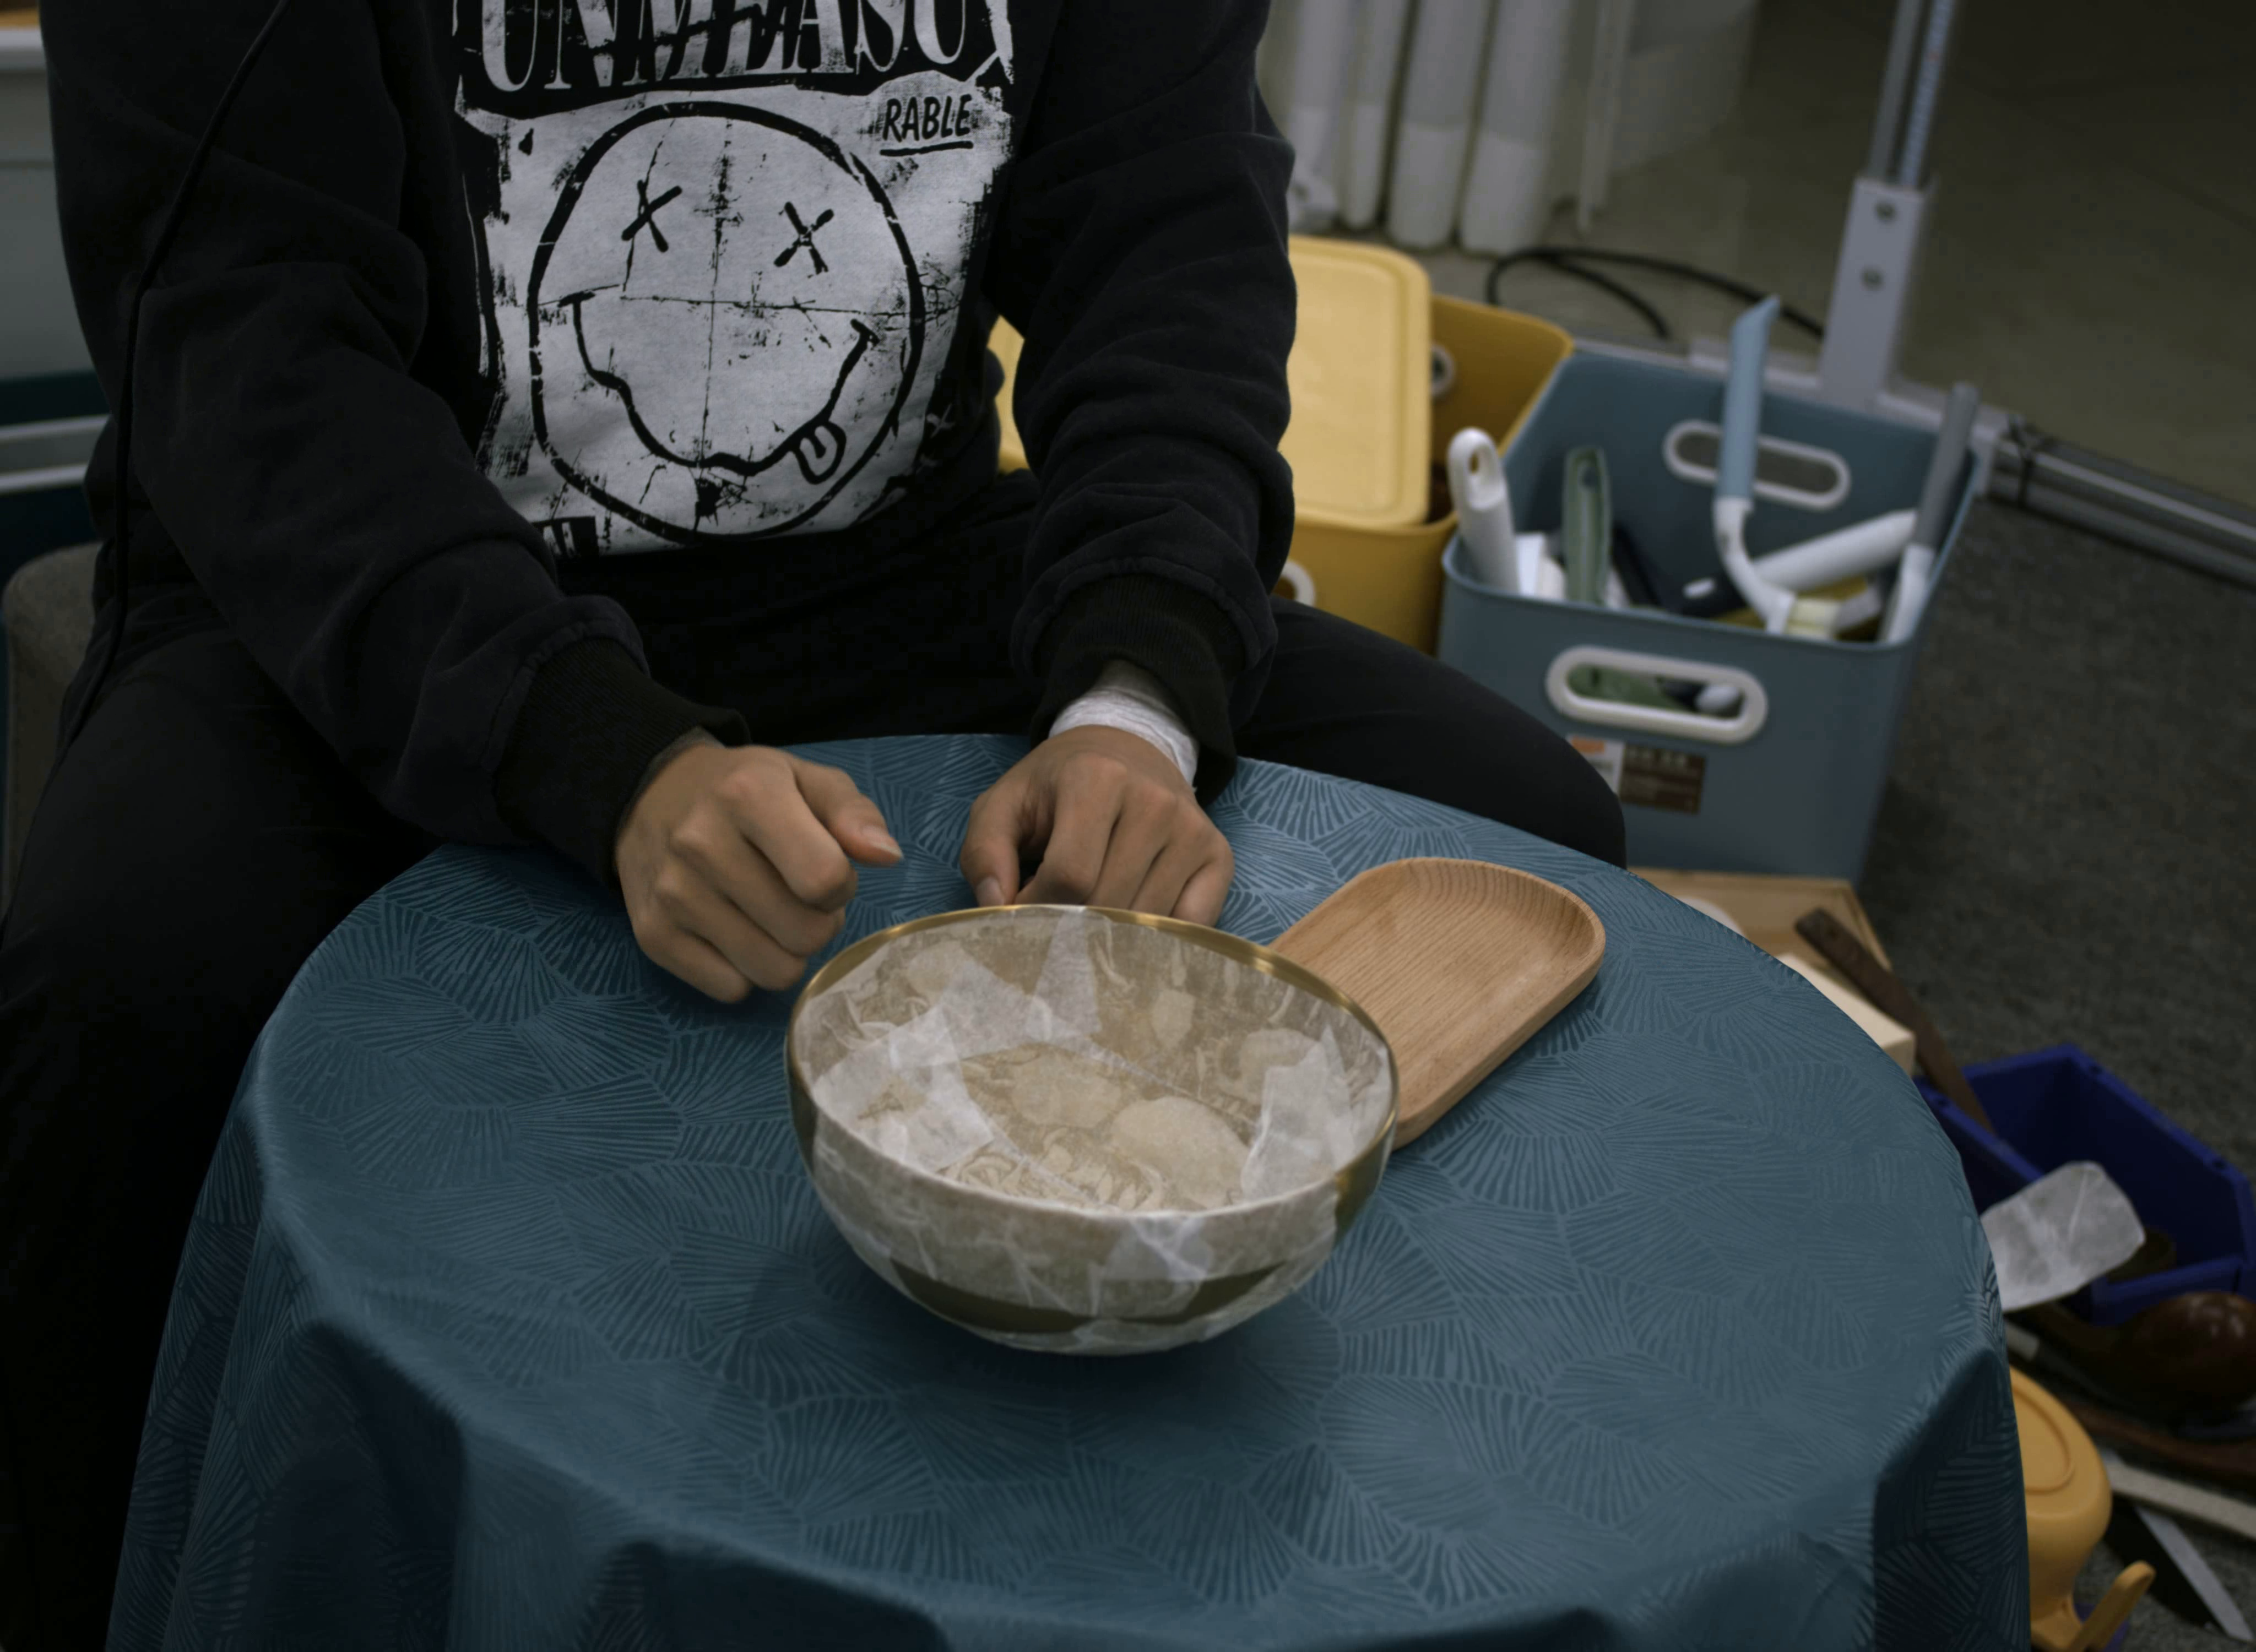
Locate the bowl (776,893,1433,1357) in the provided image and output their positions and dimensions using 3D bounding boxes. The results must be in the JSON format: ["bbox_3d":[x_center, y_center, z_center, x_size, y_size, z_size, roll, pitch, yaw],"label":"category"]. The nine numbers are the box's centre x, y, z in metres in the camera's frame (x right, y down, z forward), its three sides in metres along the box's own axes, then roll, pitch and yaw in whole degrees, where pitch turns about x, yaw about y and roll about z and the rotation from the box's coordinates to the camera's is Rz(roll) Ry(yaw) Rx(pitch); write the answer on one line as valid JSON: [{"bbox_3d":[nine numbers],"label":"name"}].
[{"bbox_3d":[-0.012,0.109,1.723,0.214,0.094,0.216,4,27,-2],"label":"bowl"}]

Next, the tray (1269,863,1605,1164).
[{"bbox_3d":[0.094,0.067,1.917,0.102,0.020,0.231,17,30,24],"label":"tray"}]
